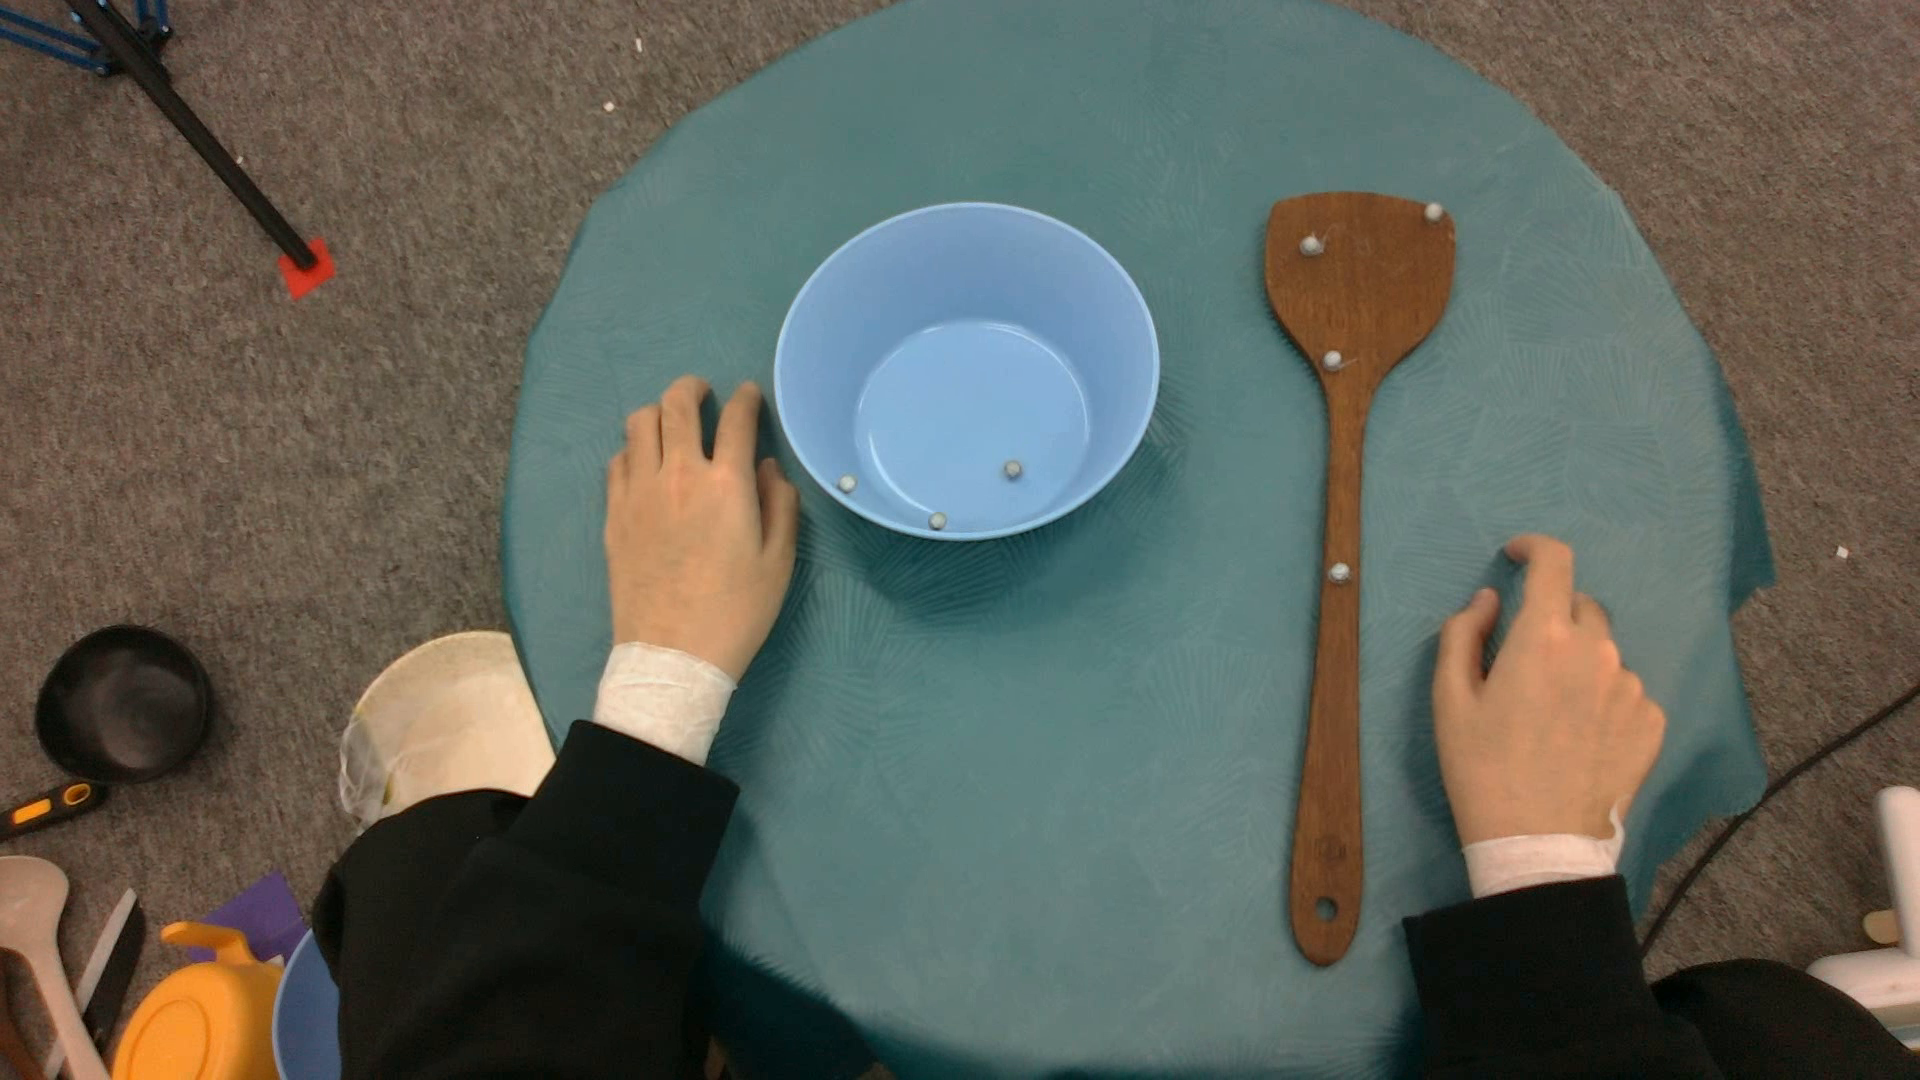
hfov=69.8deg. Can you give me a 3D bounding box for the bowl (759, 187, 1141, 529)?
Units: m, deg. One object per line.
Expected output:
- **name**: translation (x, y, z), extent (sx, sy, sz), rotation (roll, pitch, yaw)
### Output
- **bowl**: translation (-0.003, -0.076, 0.657), extent (0.176, 0.070, 0.176), rotation (-1, 68, 3)

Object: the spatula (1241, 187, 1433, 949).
- **spatula**: translation (0.172, -0.006, 0.650), extent (0.096, 0.016, 0.387), rotation (6, 68, 6)
